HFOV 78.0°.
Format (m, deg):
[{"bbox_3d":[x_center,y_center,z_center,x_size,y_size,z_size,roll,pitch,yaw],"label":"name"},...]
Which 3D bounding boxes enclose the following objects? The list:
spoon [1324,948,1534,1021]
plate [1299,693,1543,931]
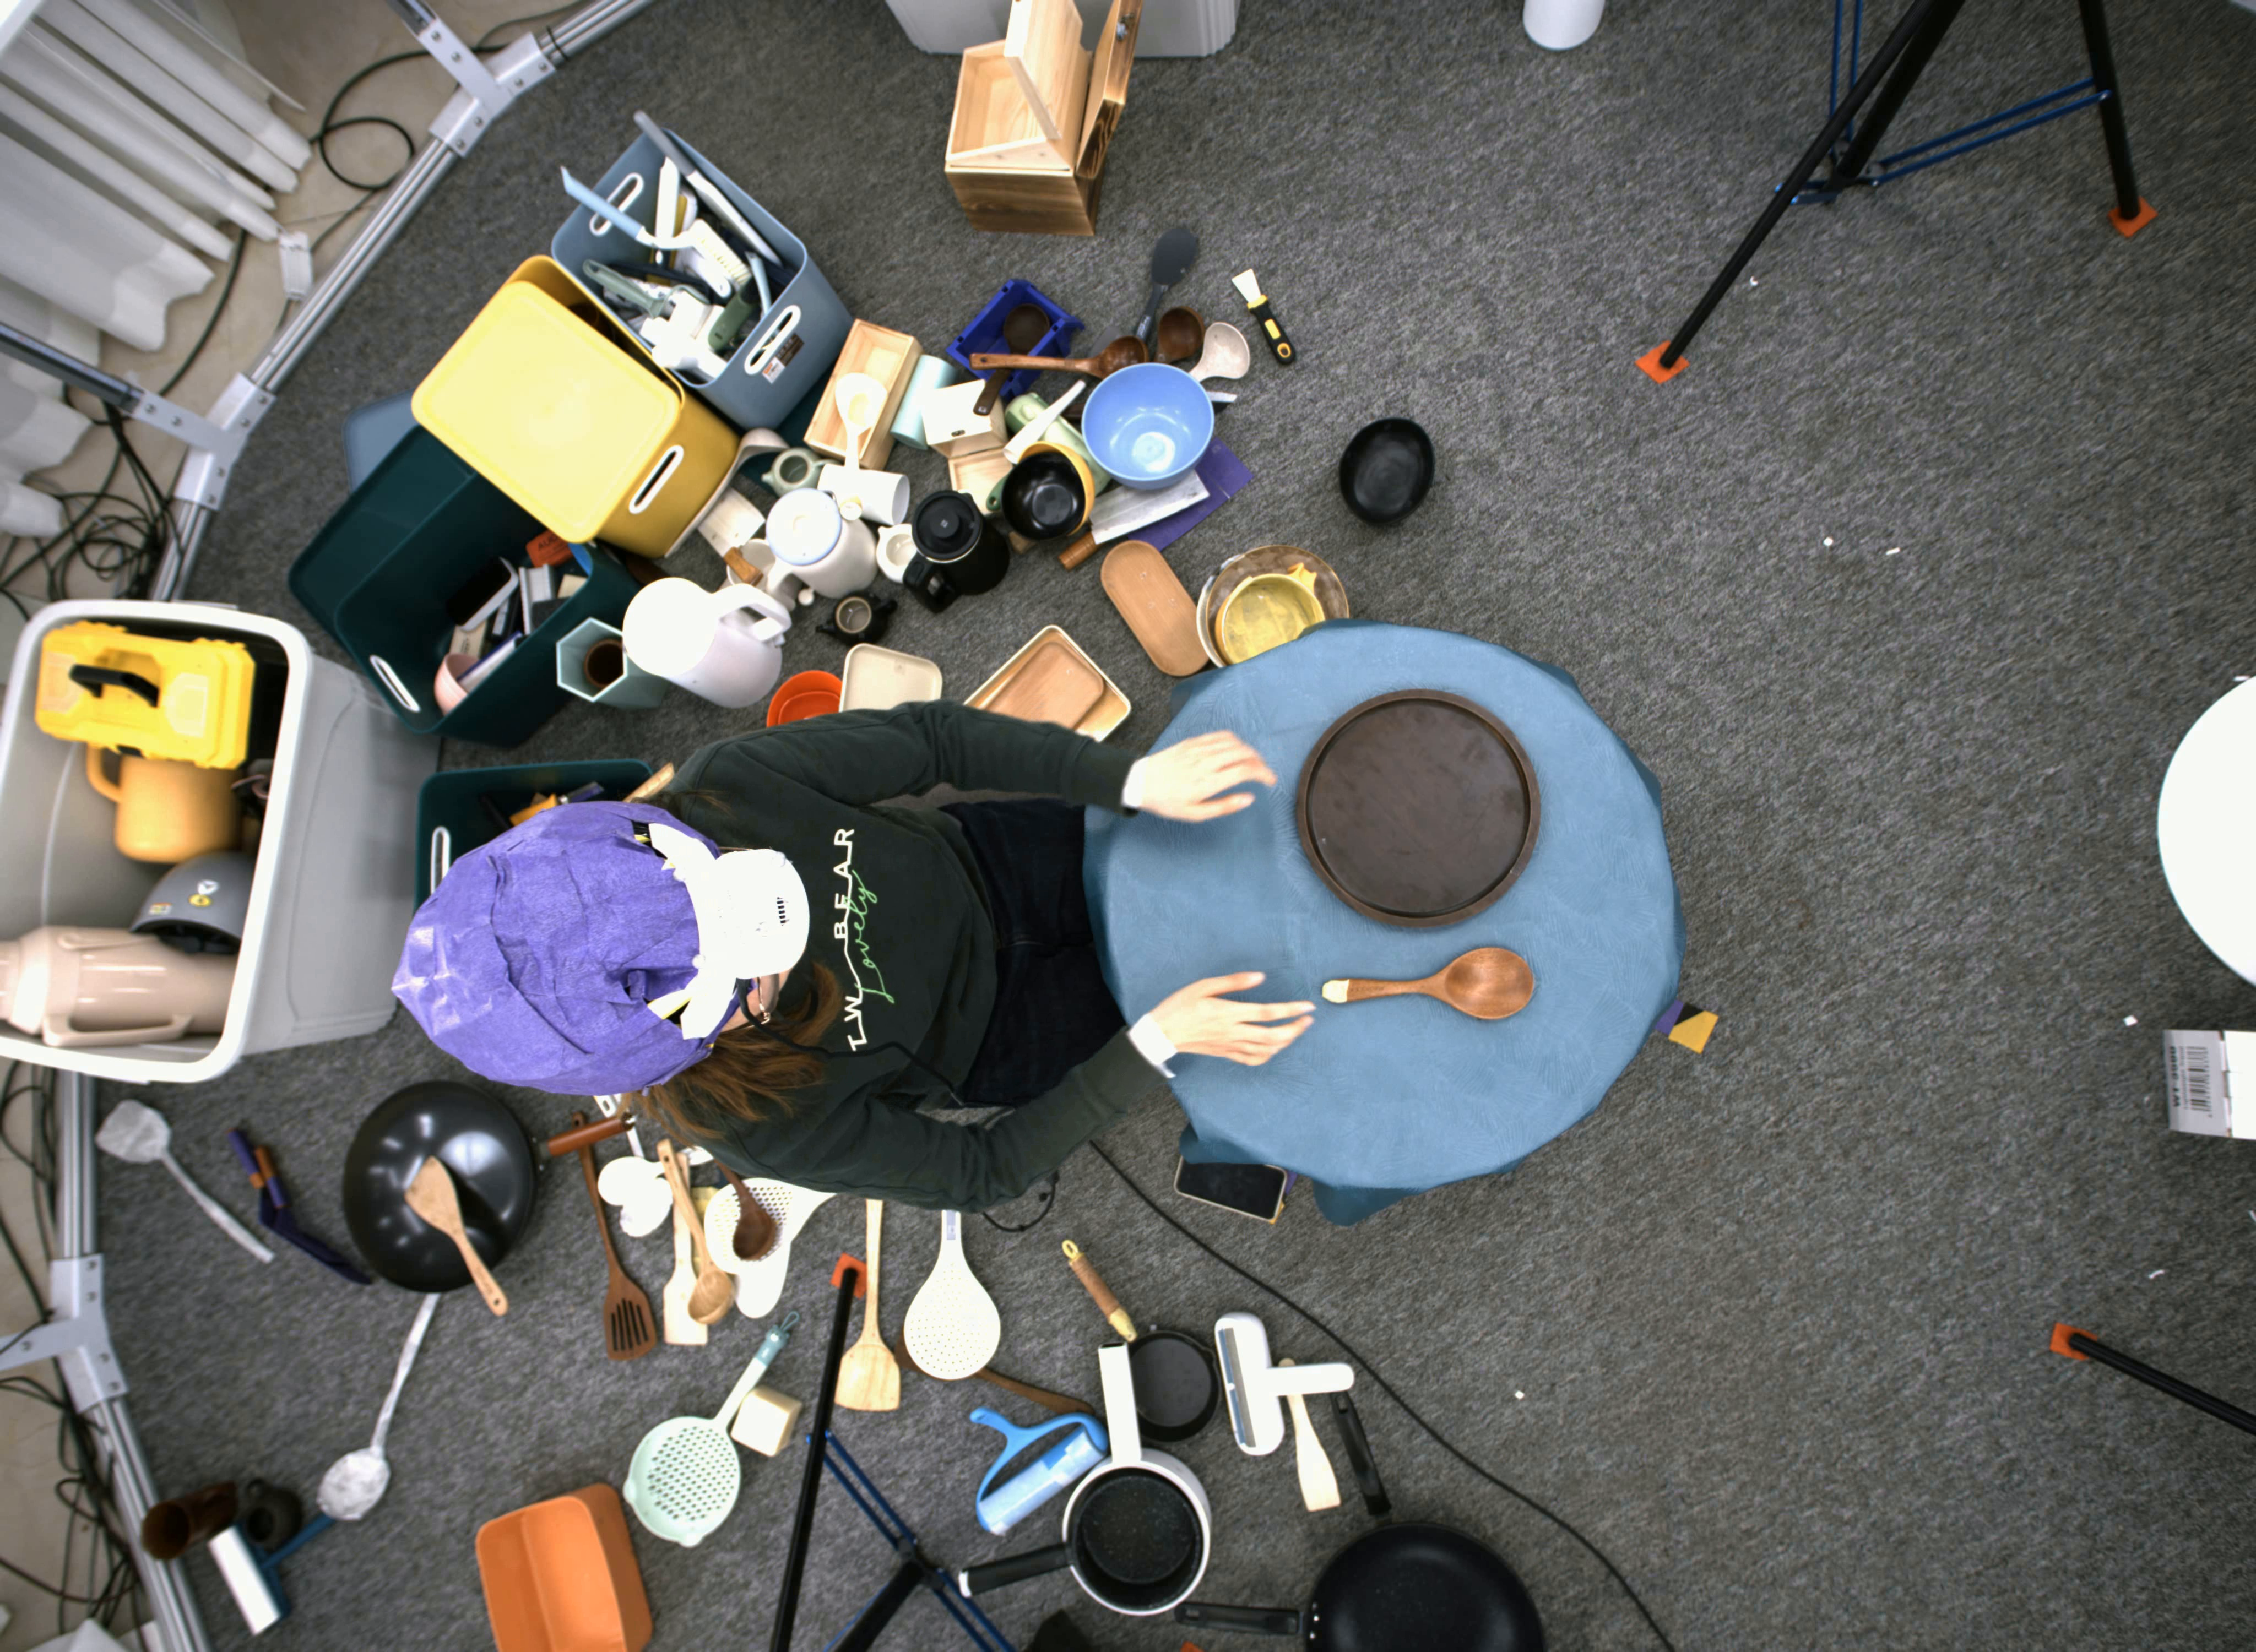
[{"bbox_3d":[0.313,0.168,1.442,0.217,0.017,0.075,-5,86,10],"label":"spoon"},{"bbox_3d":[0.307,-0.017,1.453,0.256,0.029,0.253,-1,85,9],"label":"plate"}]
